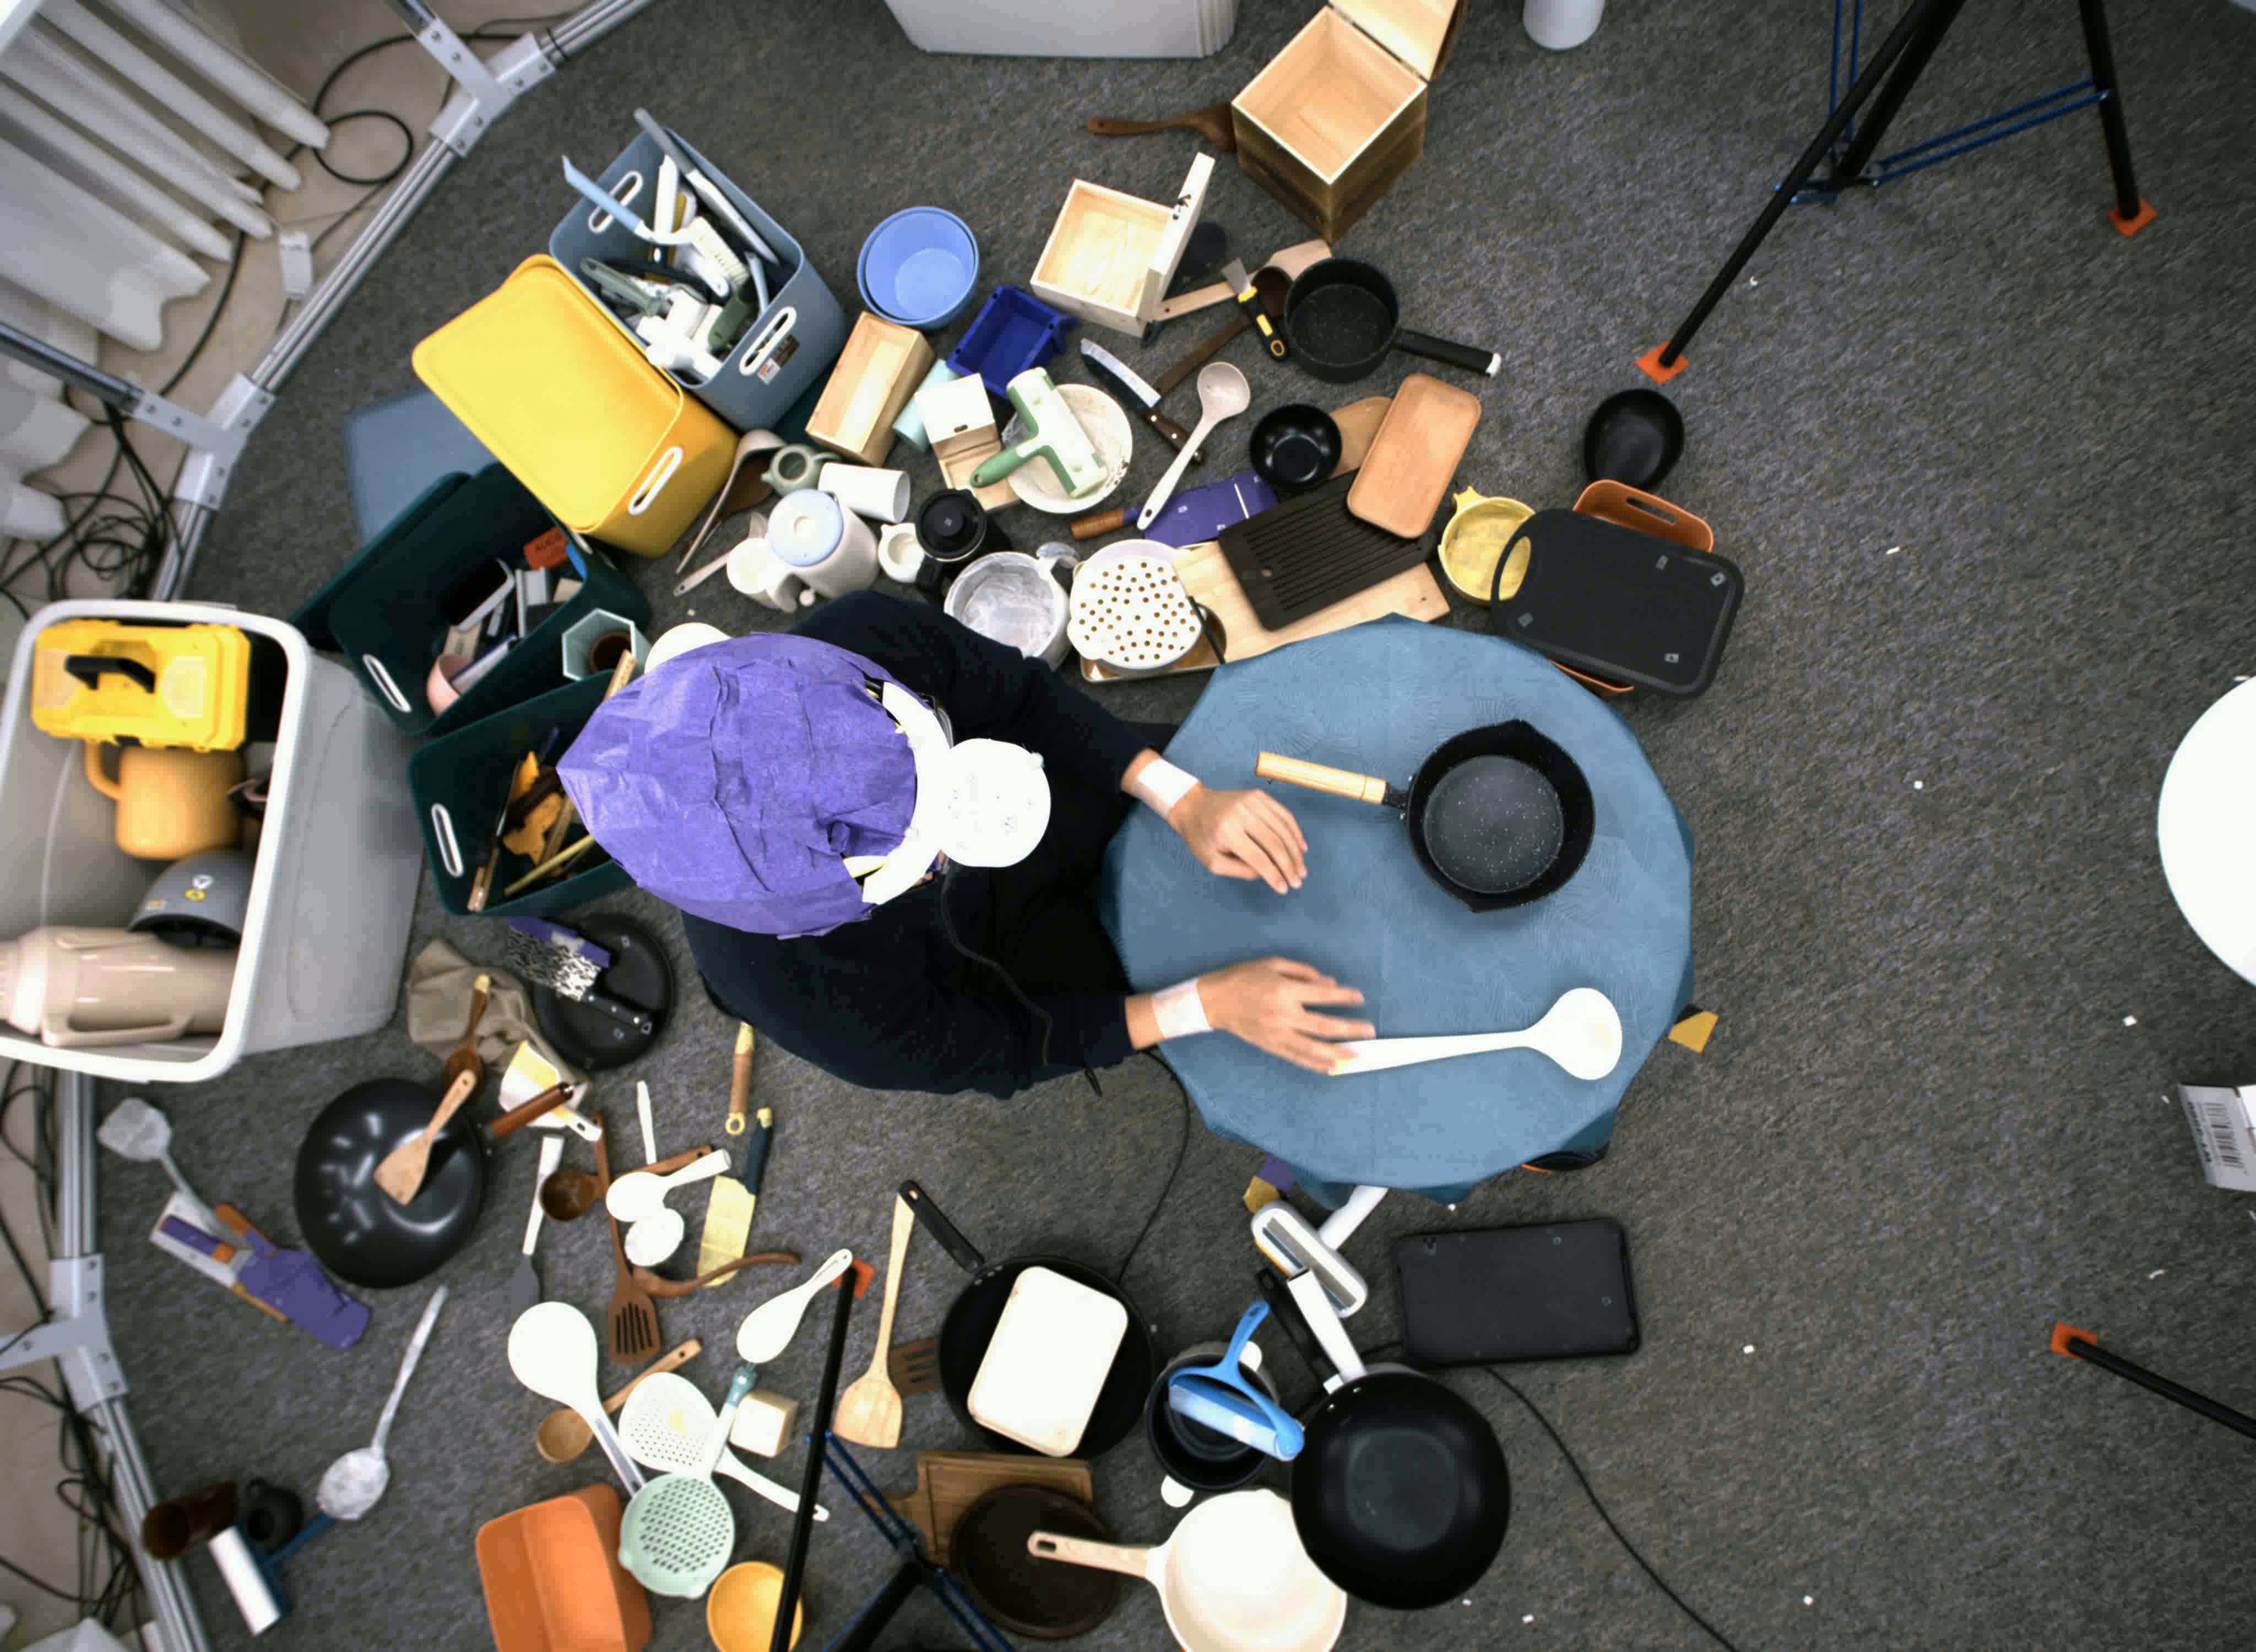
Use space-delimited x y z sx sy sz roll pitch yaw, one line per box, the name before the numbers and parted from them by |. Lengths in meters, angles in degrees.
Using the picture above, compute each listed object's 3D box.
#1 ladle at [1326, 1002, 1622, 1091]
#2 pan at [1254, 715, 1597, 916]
ladle | 0.347 0.228 1.405 0.294 0.069 0.090 -6 91 11
pan | 0.298 -0.024 1.405 0.343 0.108 0.207 11 89 10
